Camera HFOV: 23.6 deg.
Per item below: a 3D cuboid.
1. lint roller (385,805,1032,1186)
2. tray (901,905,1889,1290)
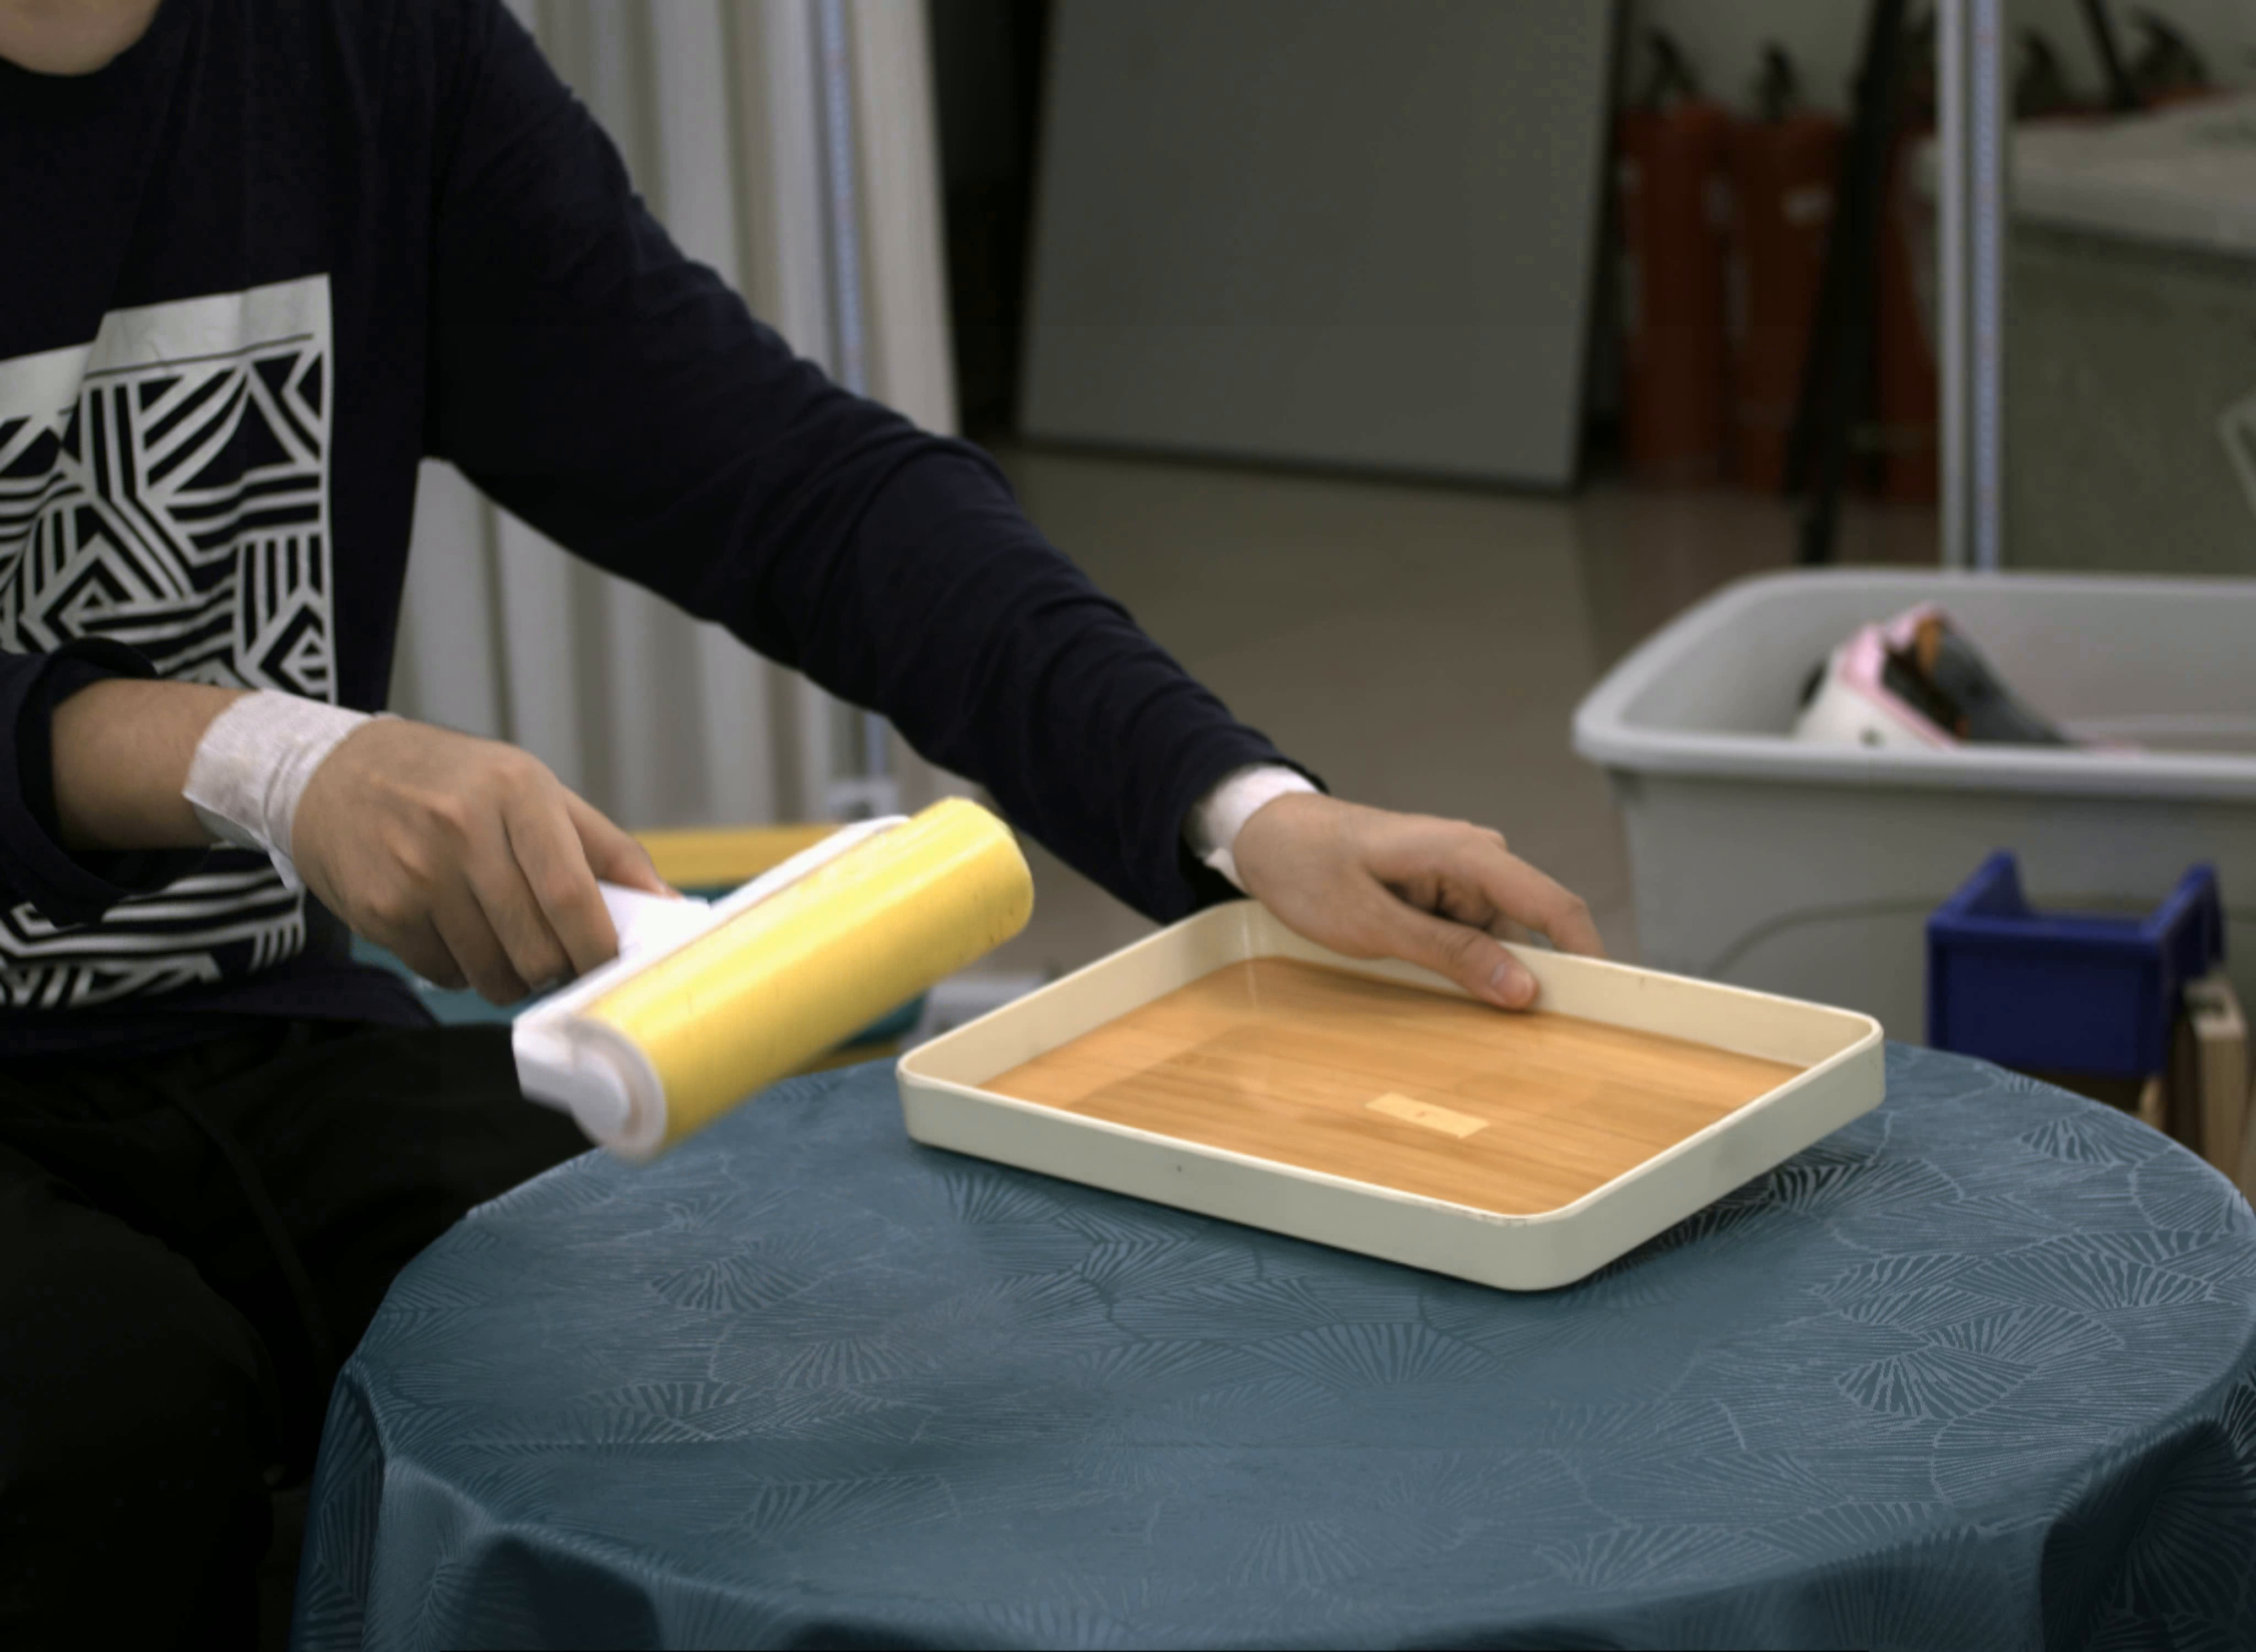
[{"bbox_3d":[-0.151,0.027,1.619,0.193,0.052,0.171,23,39,33],"label":"lint roller"},{"bbox_3d":[0.086,0.086,1.795,0.188,0.027,0.303,-24,23,-40],"label":"tray"}]
